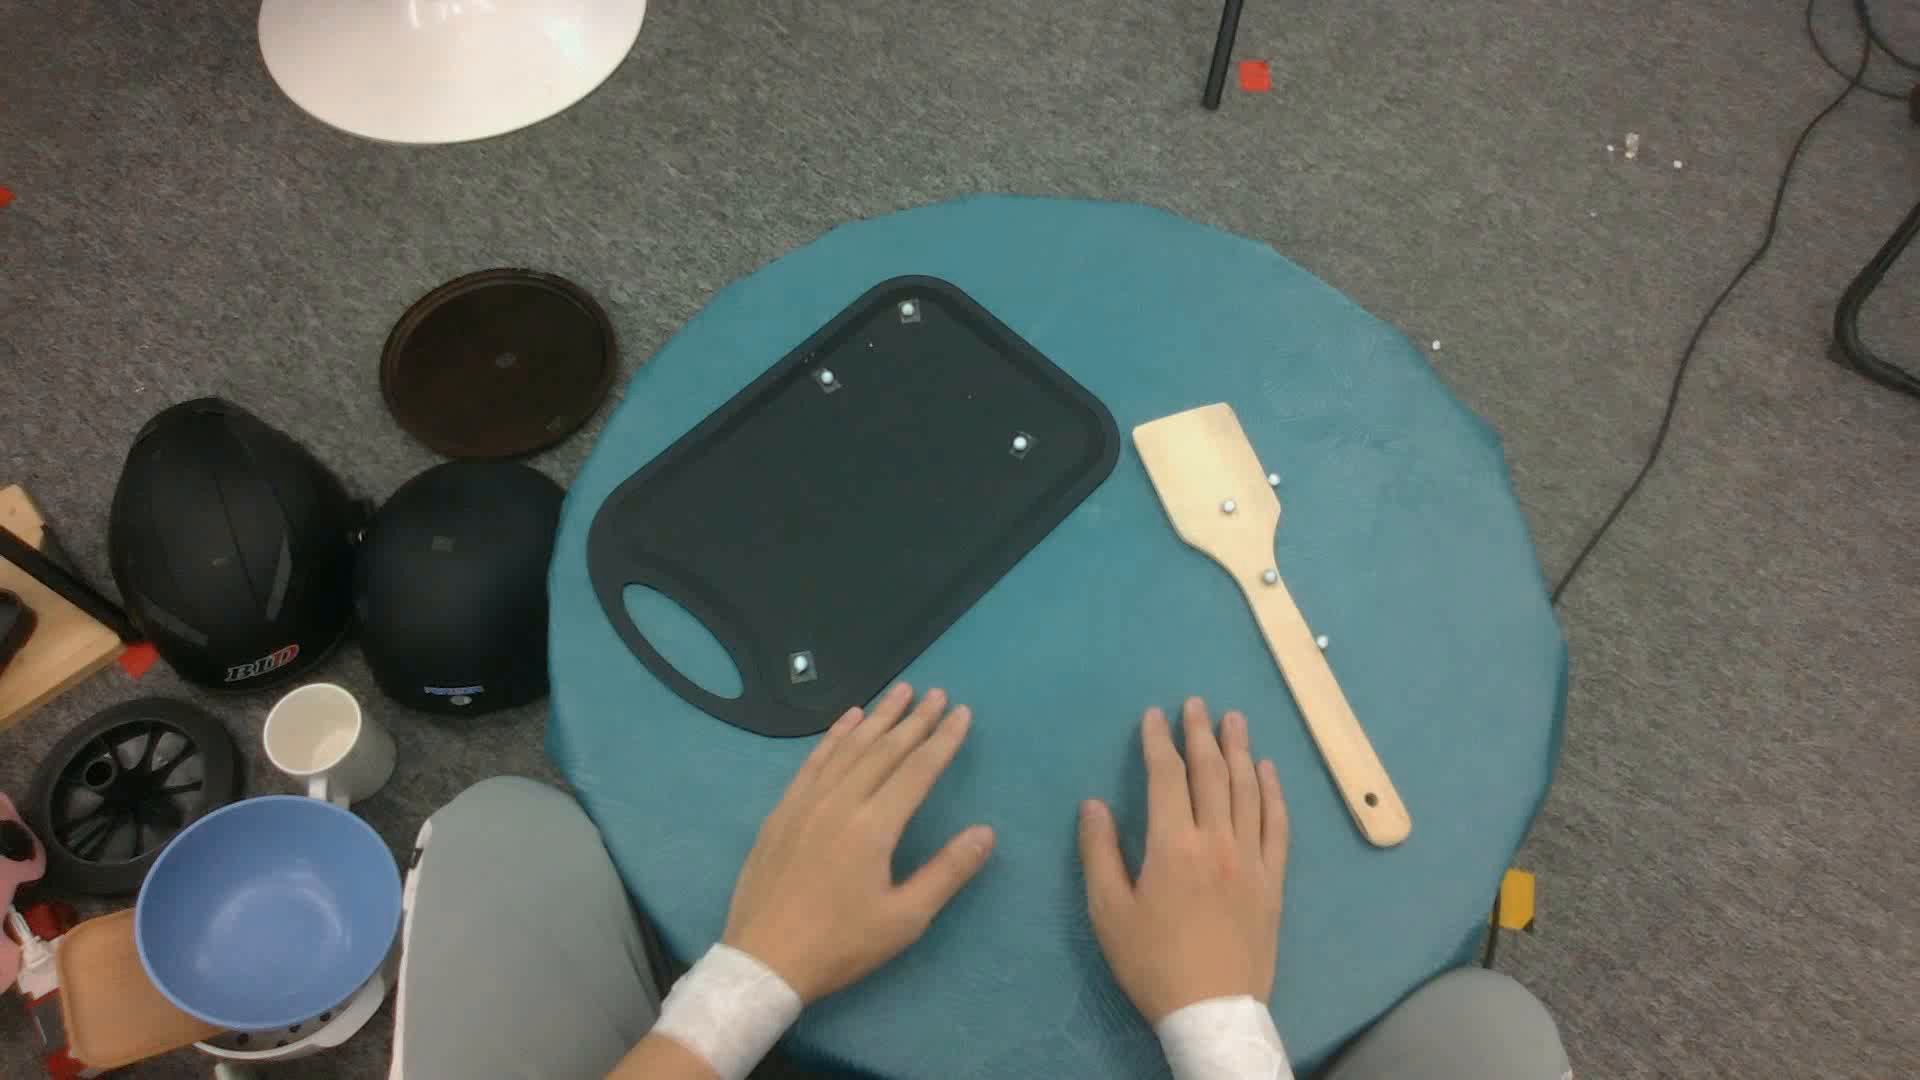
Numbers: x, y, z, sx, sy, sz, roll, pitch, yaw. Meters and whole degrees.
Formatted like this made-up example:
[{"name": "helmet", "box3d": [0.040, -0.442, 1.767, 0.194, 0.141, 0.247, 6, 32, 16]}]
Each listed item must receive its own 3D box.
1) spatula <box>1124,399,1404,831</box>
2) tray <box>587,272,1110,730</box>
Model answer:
[{"name": "spatula", "box3d": [0.188, 0.039, 0.830, 0.072, 0.010, 0.294, -17, 64, -12]}, {"name": "tray", "box3d": [-0.070, -0.032, 0.859, 0.211, 0.010, 0.326, 41, 68, 17]}]
